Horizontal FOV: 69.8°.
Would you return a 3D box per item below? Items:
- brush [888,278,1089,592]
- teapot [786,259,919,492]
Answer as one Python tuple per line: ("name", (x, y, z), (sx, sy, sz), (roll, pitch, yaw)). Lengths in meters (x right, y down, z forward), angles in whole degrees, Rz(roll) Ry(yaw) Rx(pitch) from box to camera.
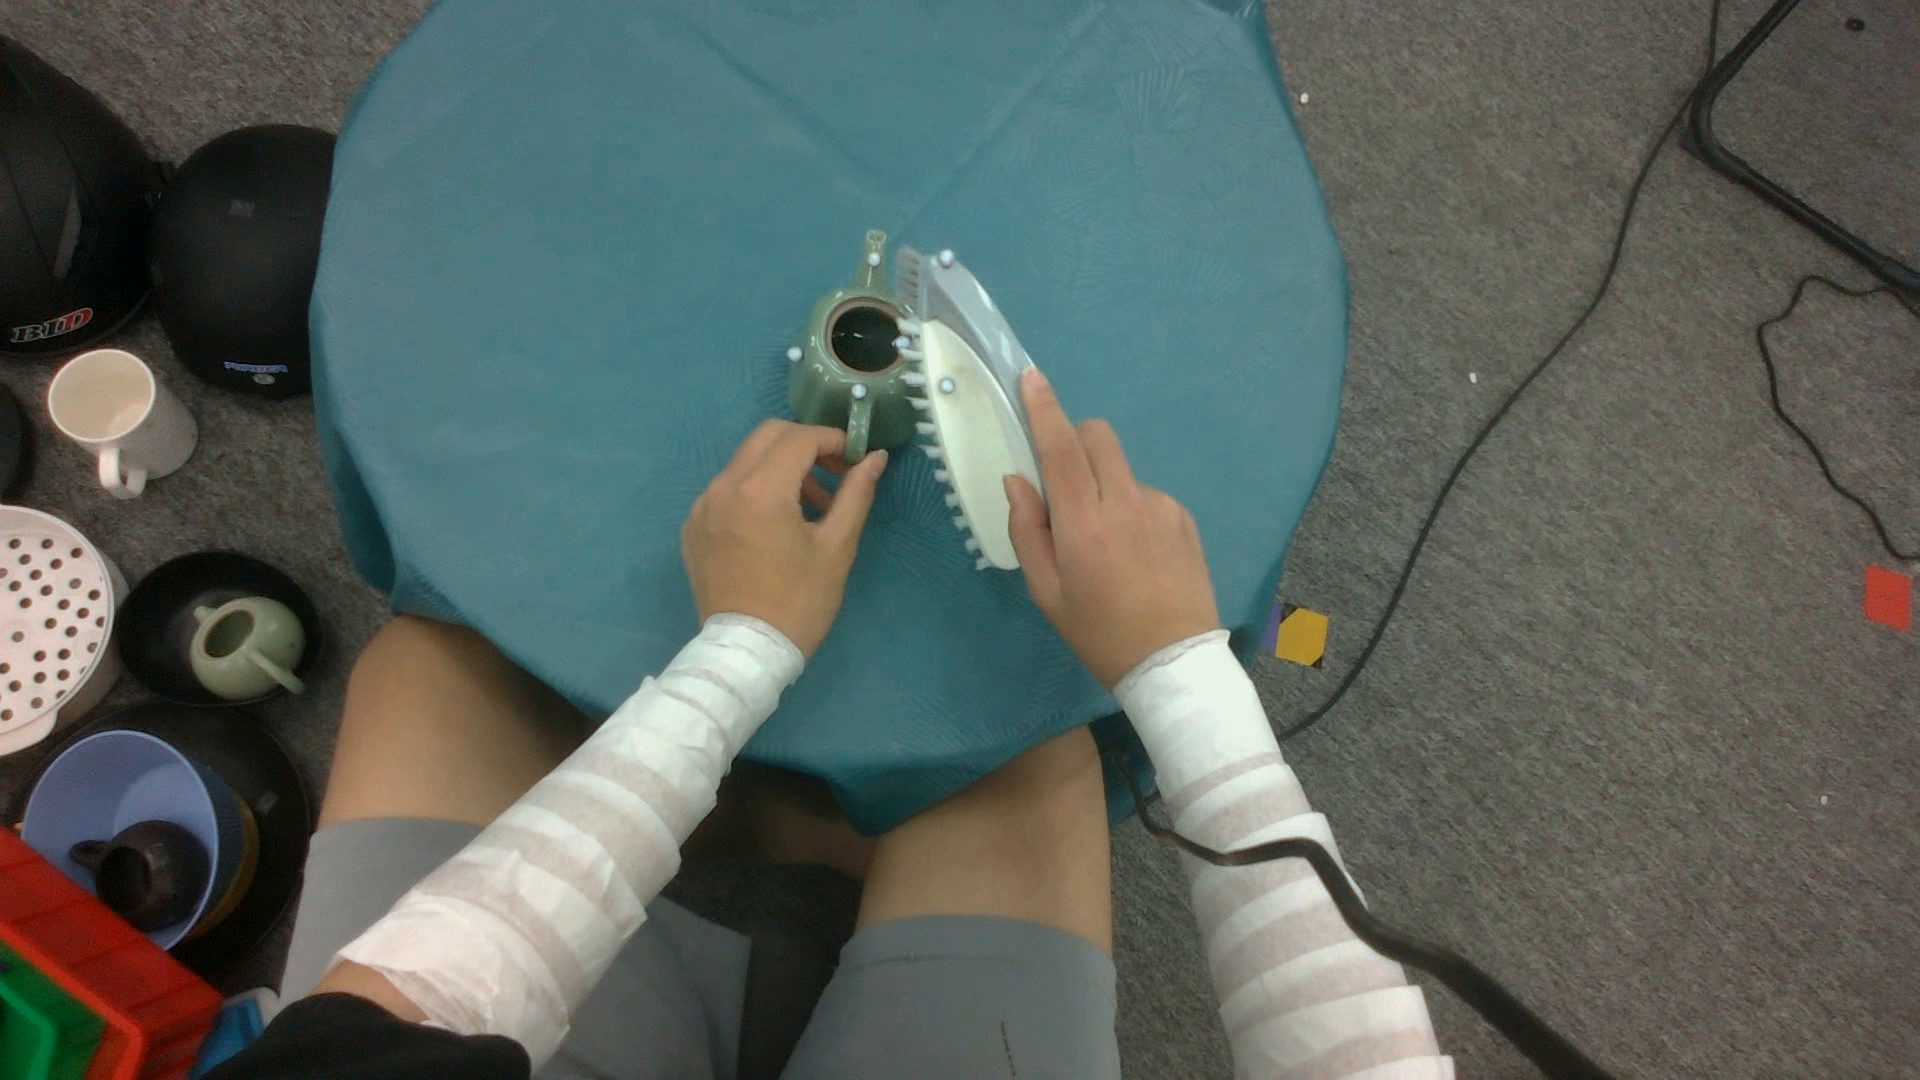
("brush", (0.016, -0.058, 0.706), (0.061, 0.094, 0.175), (-27, 101, -24))
("teapot", (-0.056, -0.083, 0.766), (0.080, 0.075, 0.133), (6, 71, -3))
